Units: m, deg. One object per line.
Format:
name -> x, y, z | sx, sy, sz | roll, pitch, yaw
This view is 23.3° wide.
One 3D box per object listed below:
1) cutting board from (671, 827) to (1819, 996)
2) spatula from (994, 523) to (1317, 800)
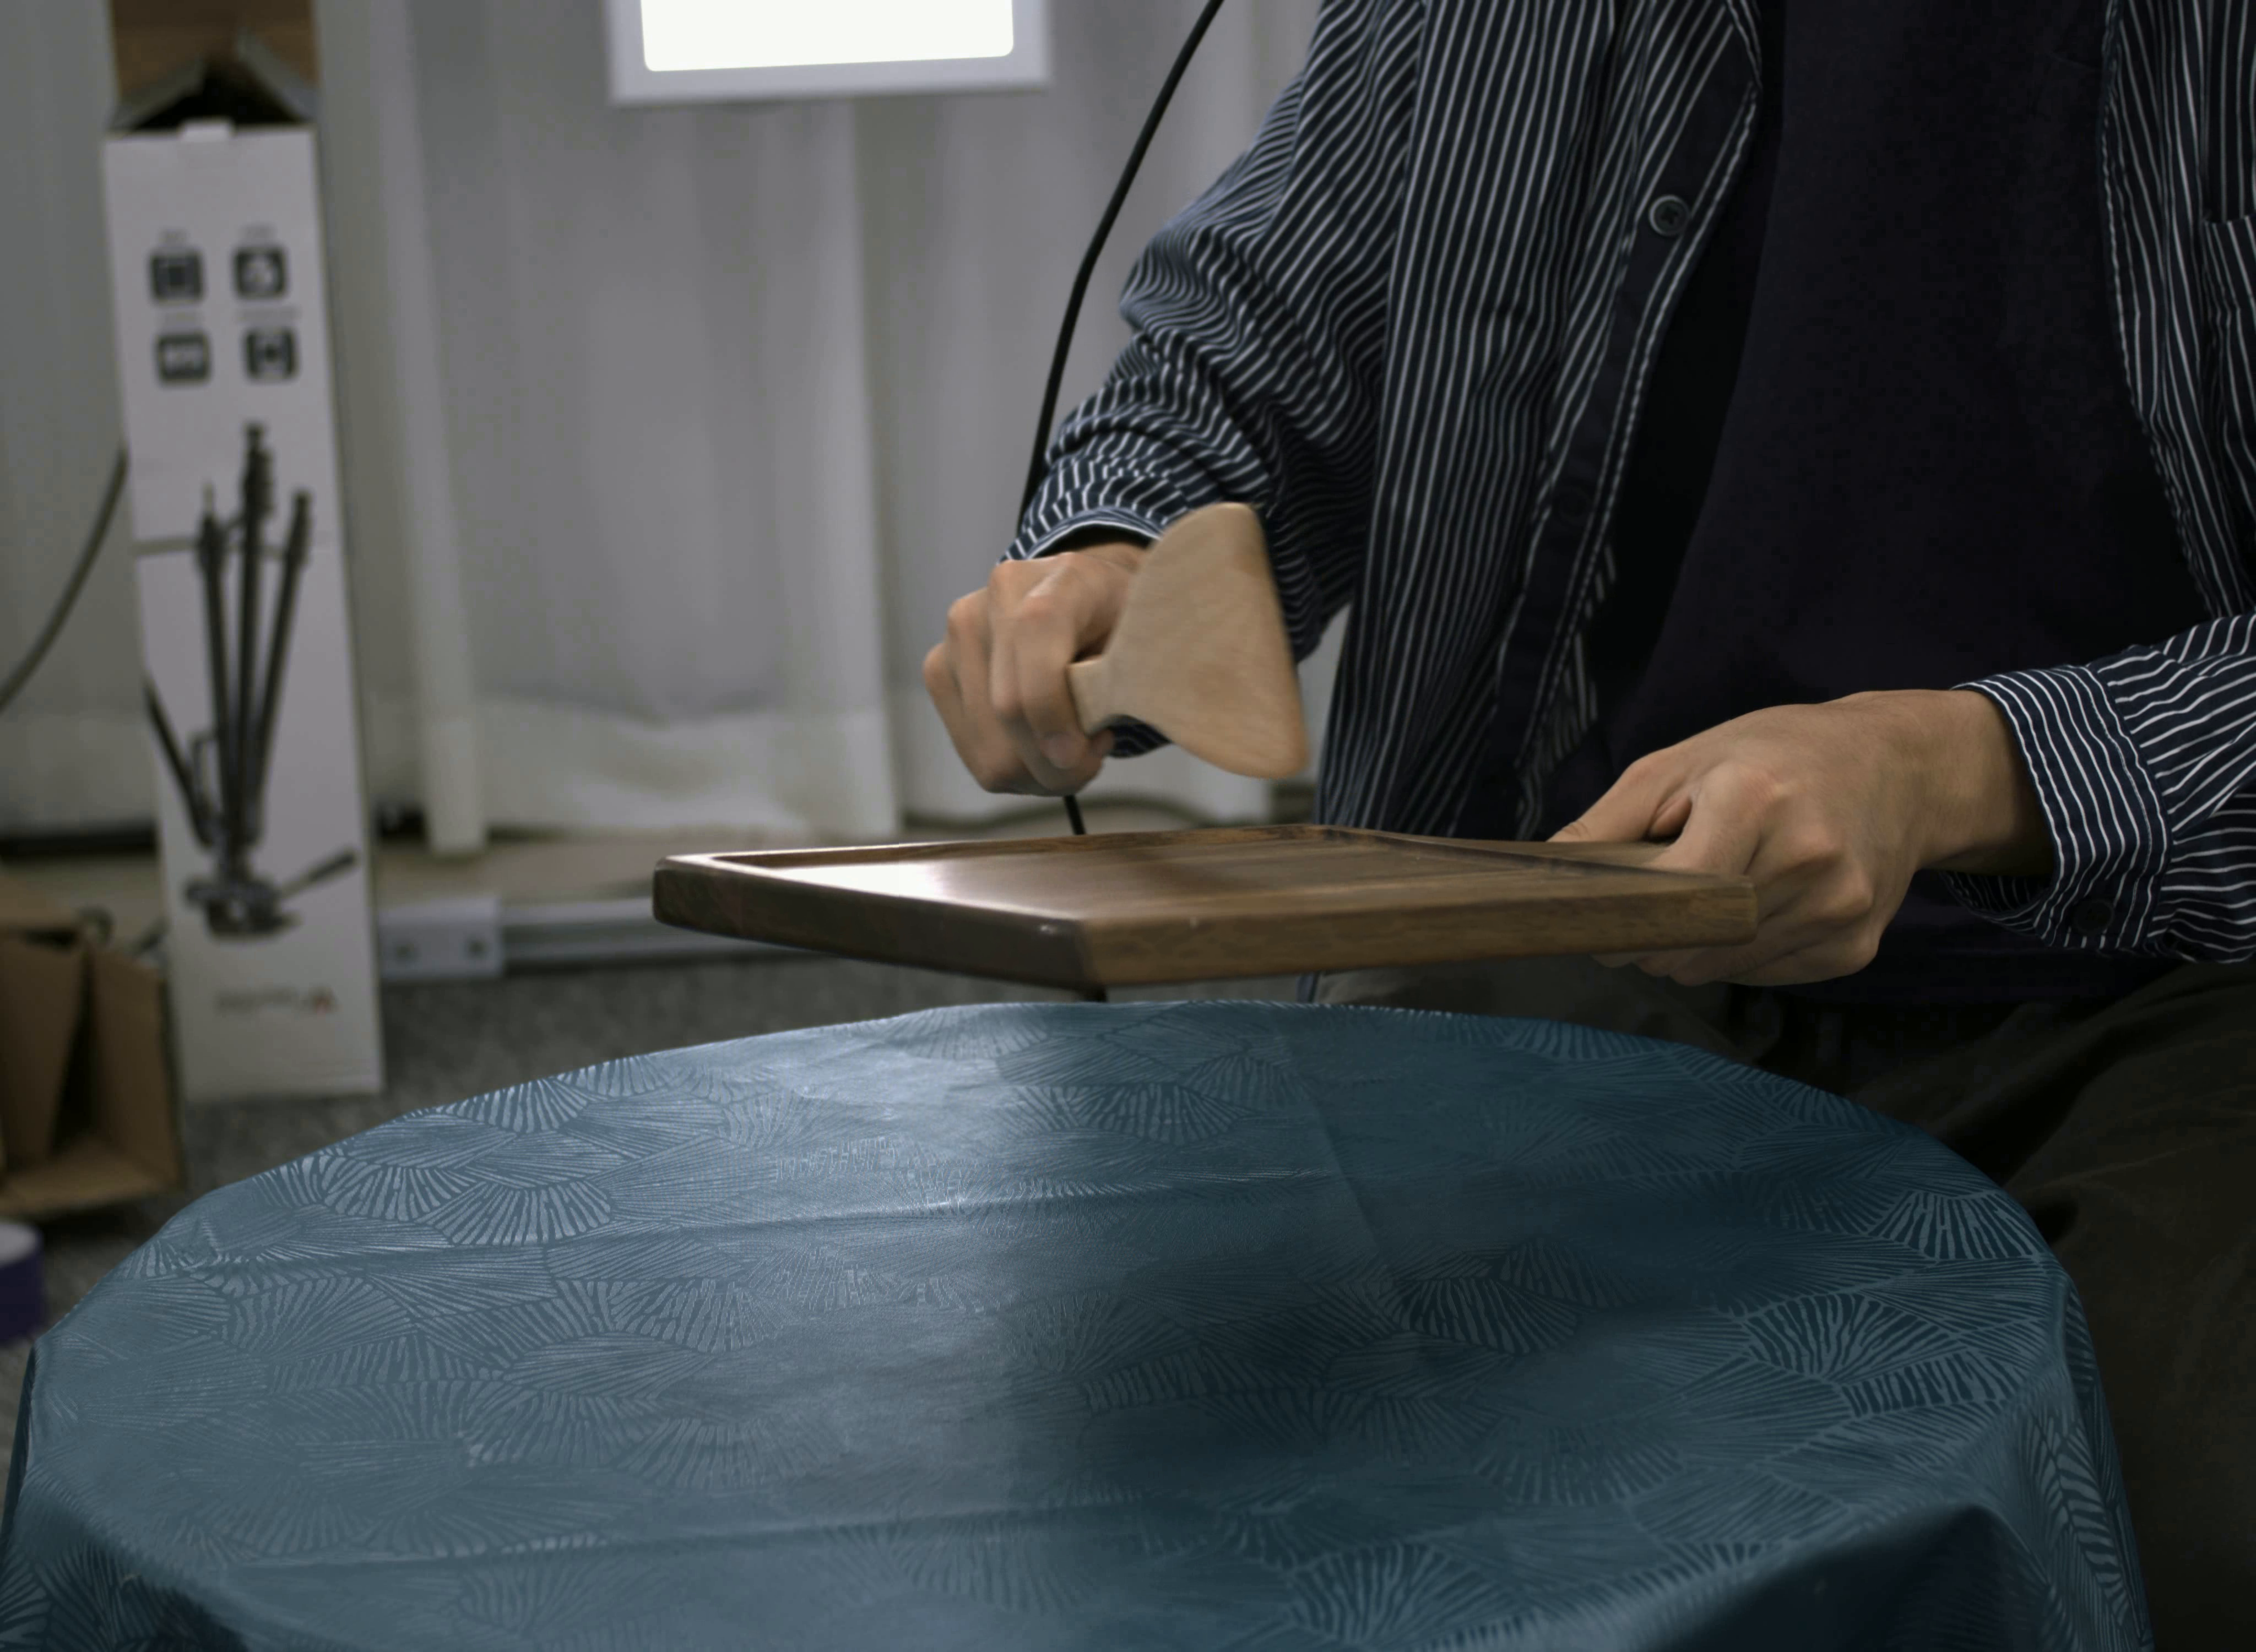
cutting board -> 0.067, 0.020, 1.550 | 0.350, 0.023, 0.202 | -3, 6, -38
spatula -> 0.002, -0.039, 1.676 | 0.016, 0.080, 0.327 | -17, 1, -14
